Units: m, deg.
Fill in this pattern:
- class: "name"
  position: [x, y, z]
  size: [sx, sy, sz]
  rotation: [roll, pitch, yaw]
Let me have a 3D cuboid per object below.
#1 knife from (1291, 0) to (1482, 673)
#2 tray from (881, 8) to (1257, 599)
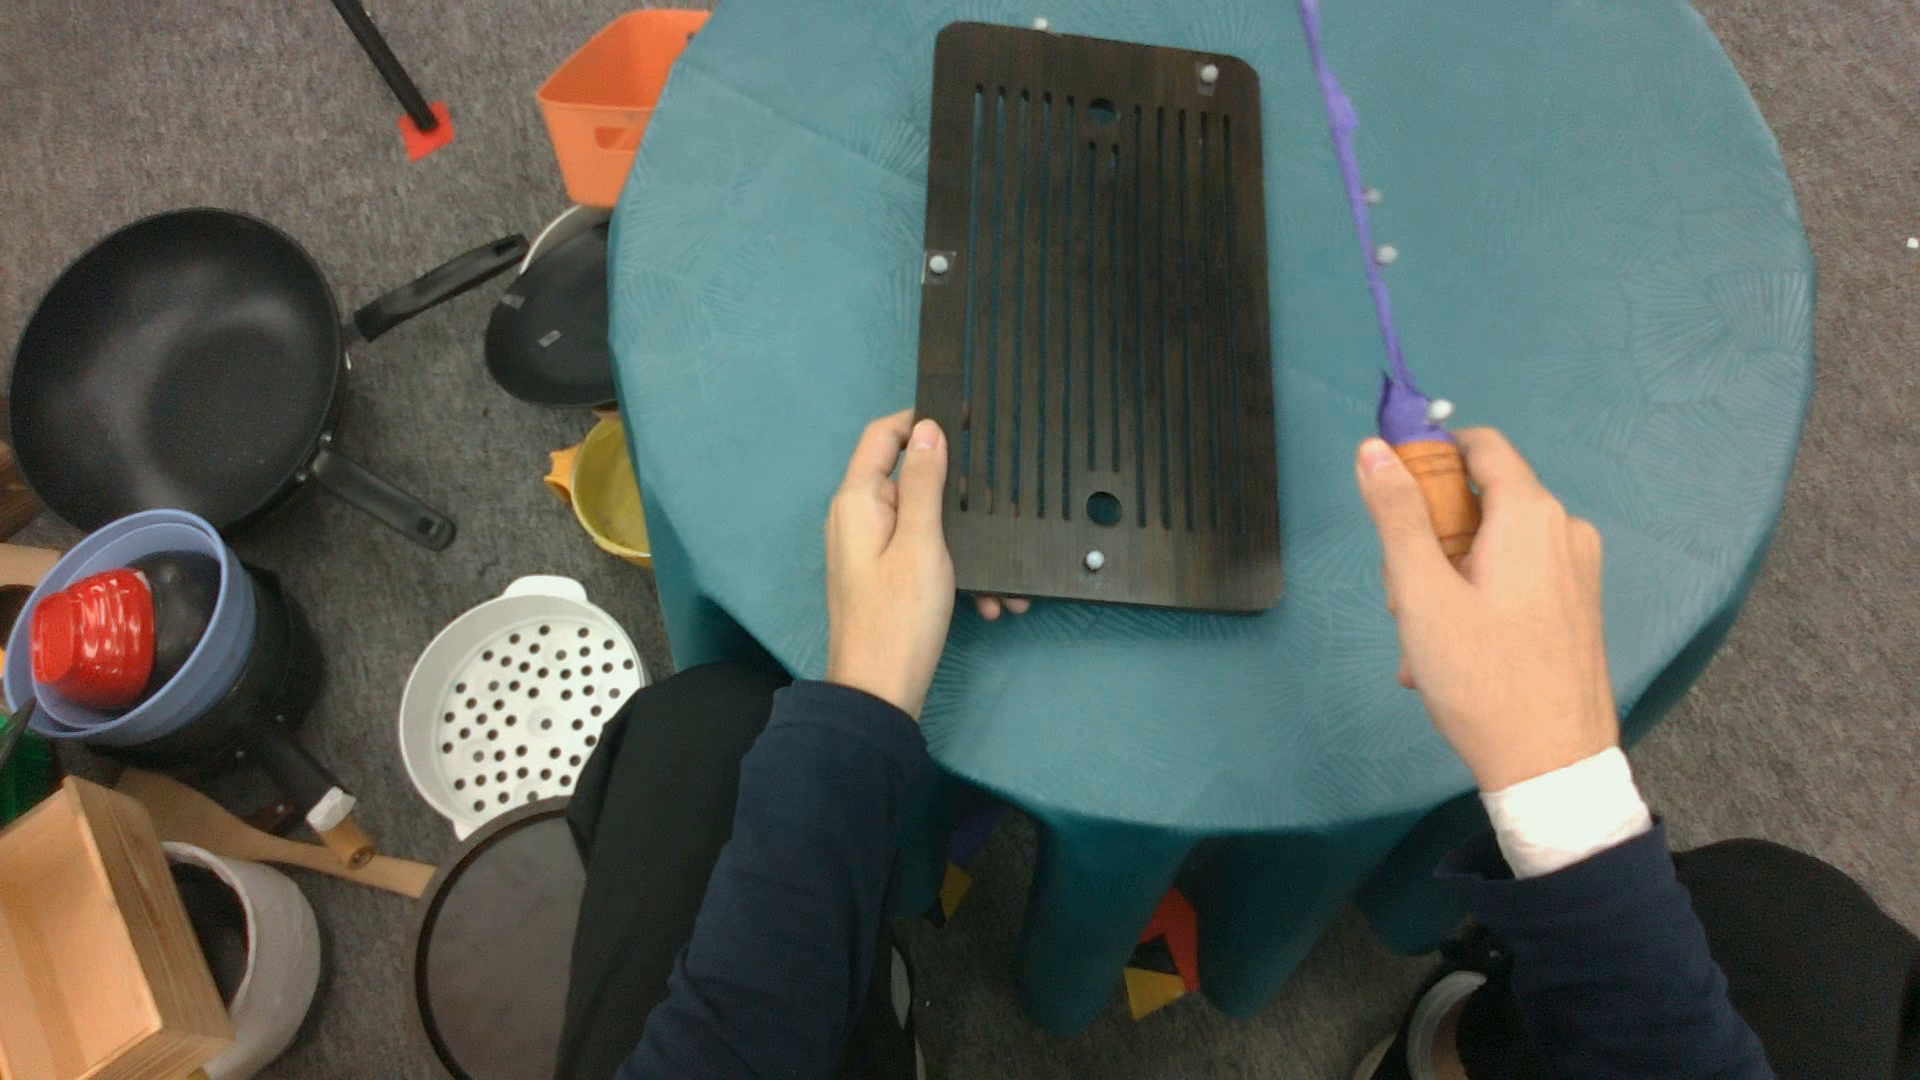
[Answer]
- class: "knife"
  position: [0.167, -0.102, 0.559]
  size: [0.032, 0.104, 0.316]
  rotation: [-12, 77, 22]
- class: "tray"
  position: [0.050, -0.120, 0.660]
  size: [0.170, 0.018, 0.307]
  rotation: [4, 69, -9]
